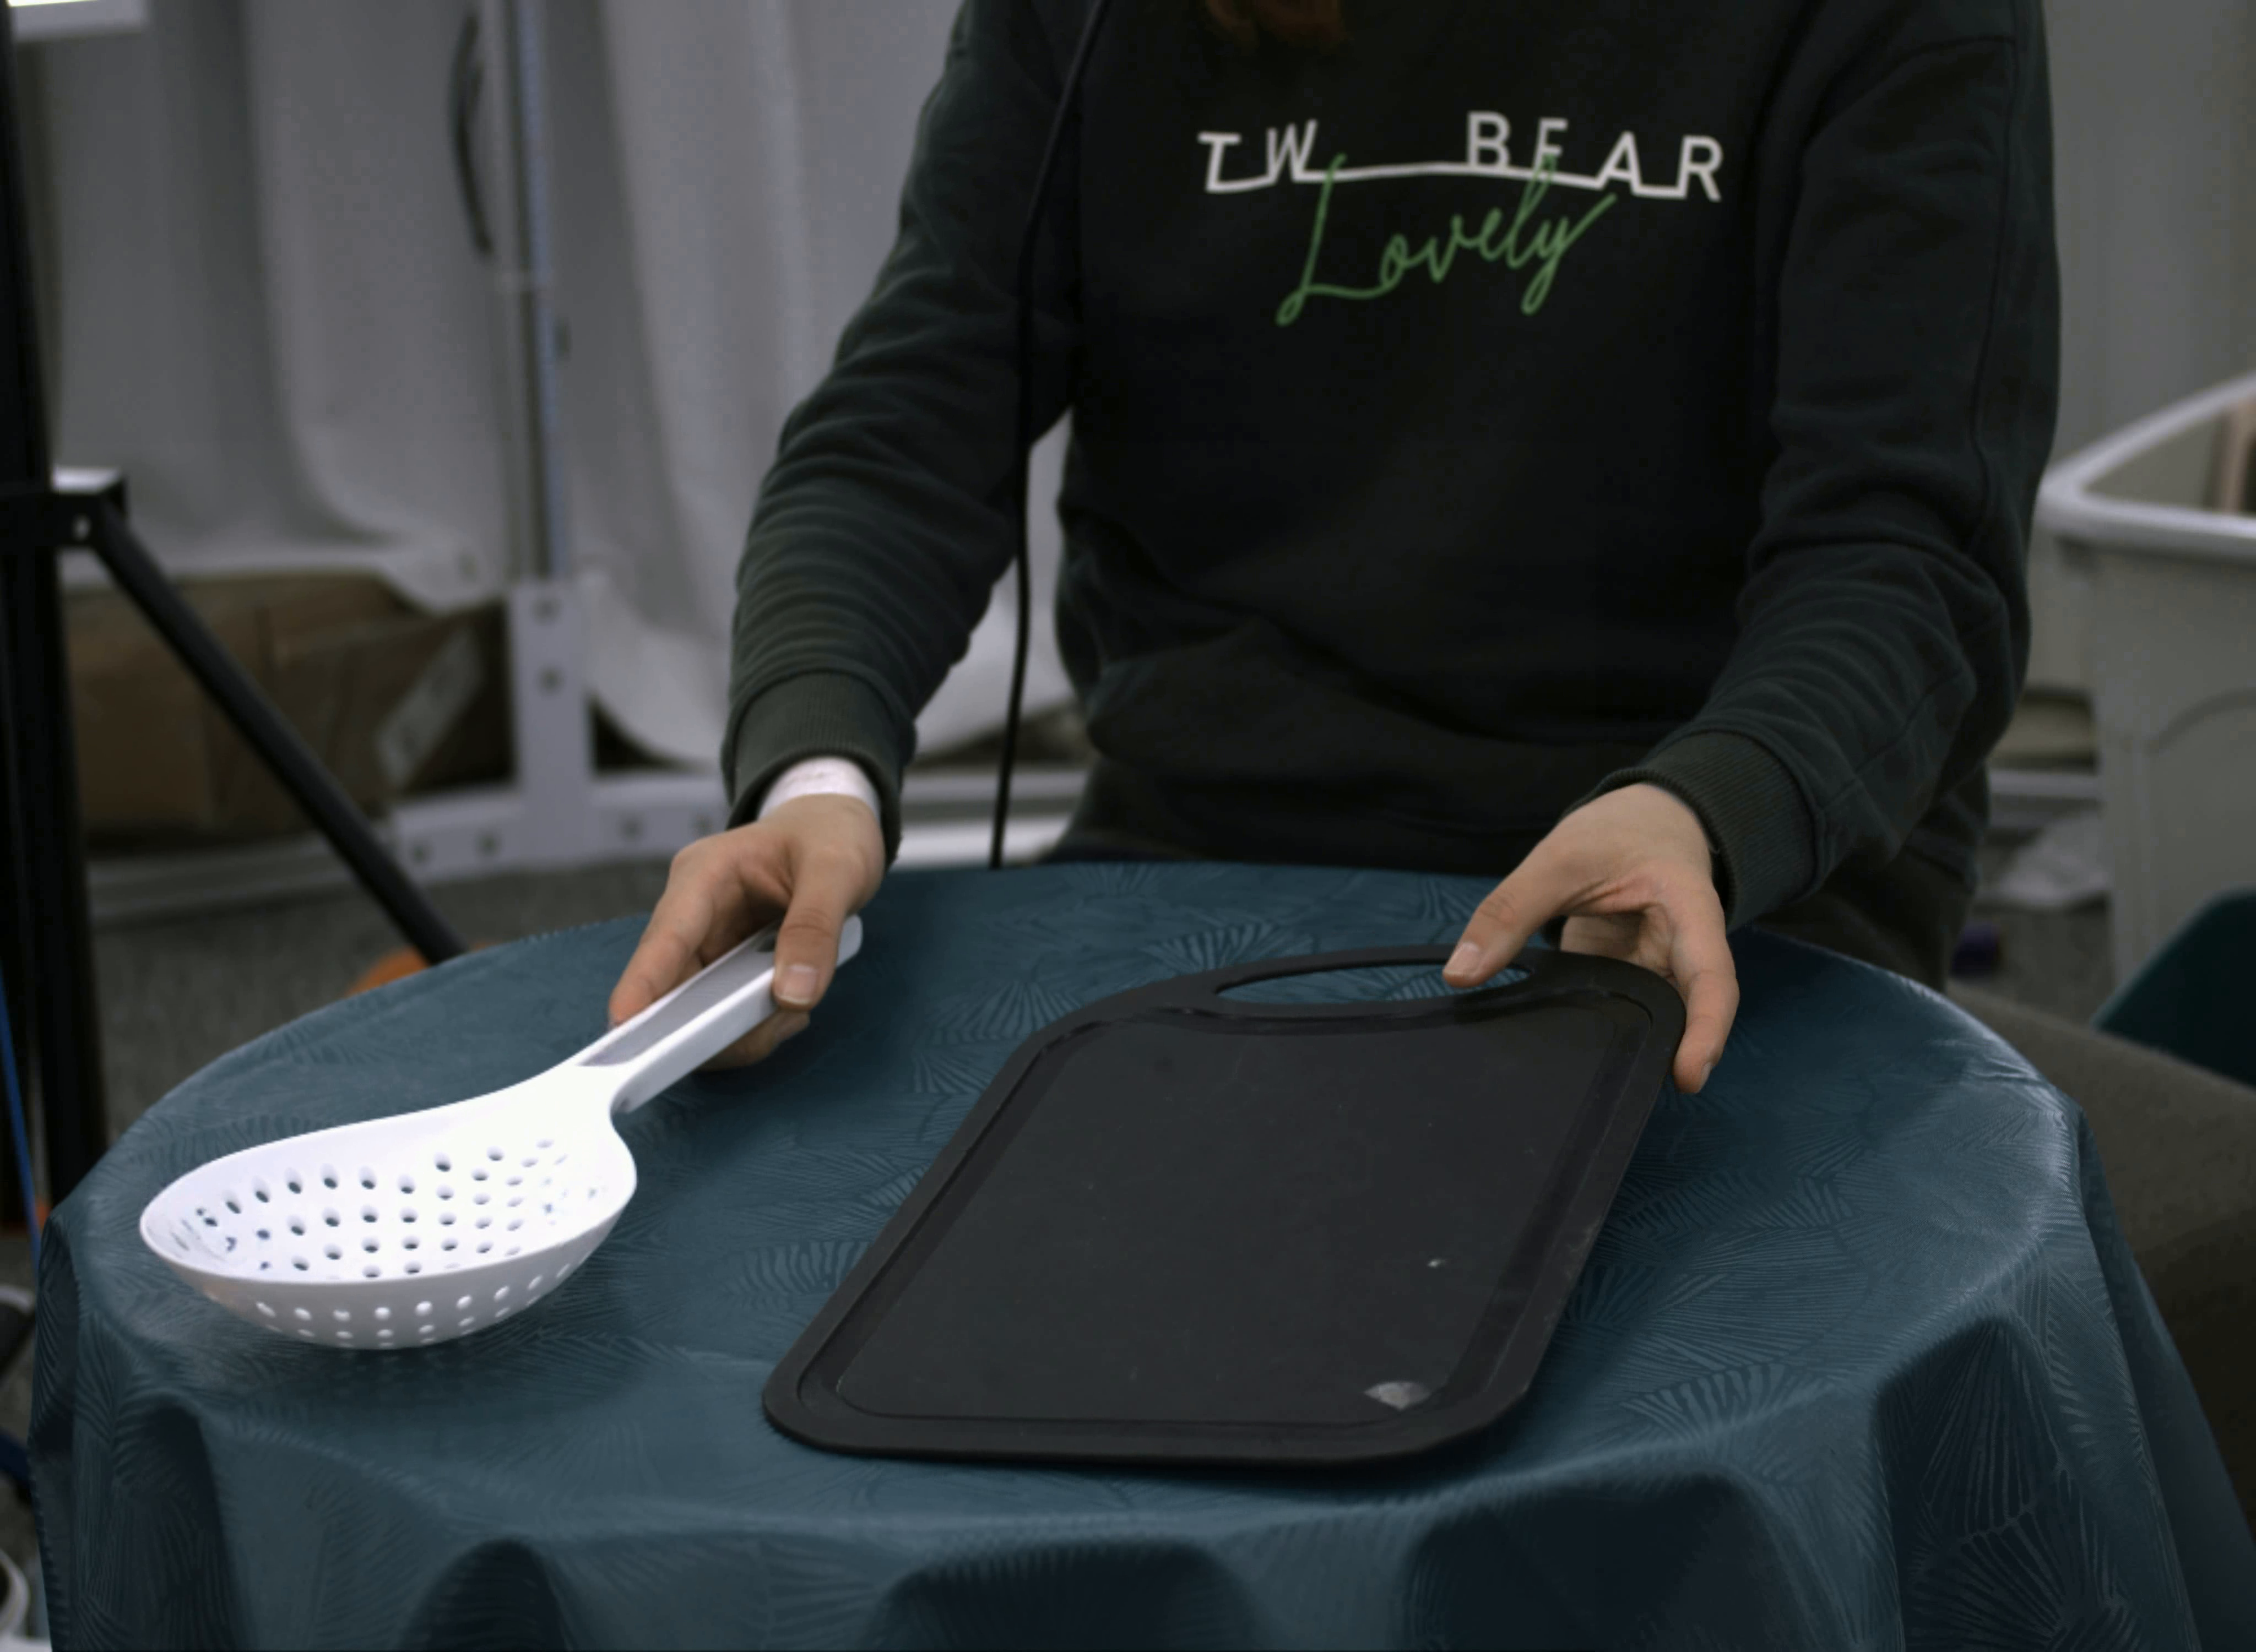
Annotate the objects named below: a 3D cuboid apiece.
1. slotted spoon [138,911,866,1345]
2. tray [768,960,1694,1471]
[{"bbox_3d":[-0.162,0.080,1.564,0.138,0.045,0.345,4,22,23],"label":"slotted spoon"},{"bbox_3d":[0.037,0.101,1.489,0.213,0.010,0.323,-2,21,19],"label":"tray"}]
